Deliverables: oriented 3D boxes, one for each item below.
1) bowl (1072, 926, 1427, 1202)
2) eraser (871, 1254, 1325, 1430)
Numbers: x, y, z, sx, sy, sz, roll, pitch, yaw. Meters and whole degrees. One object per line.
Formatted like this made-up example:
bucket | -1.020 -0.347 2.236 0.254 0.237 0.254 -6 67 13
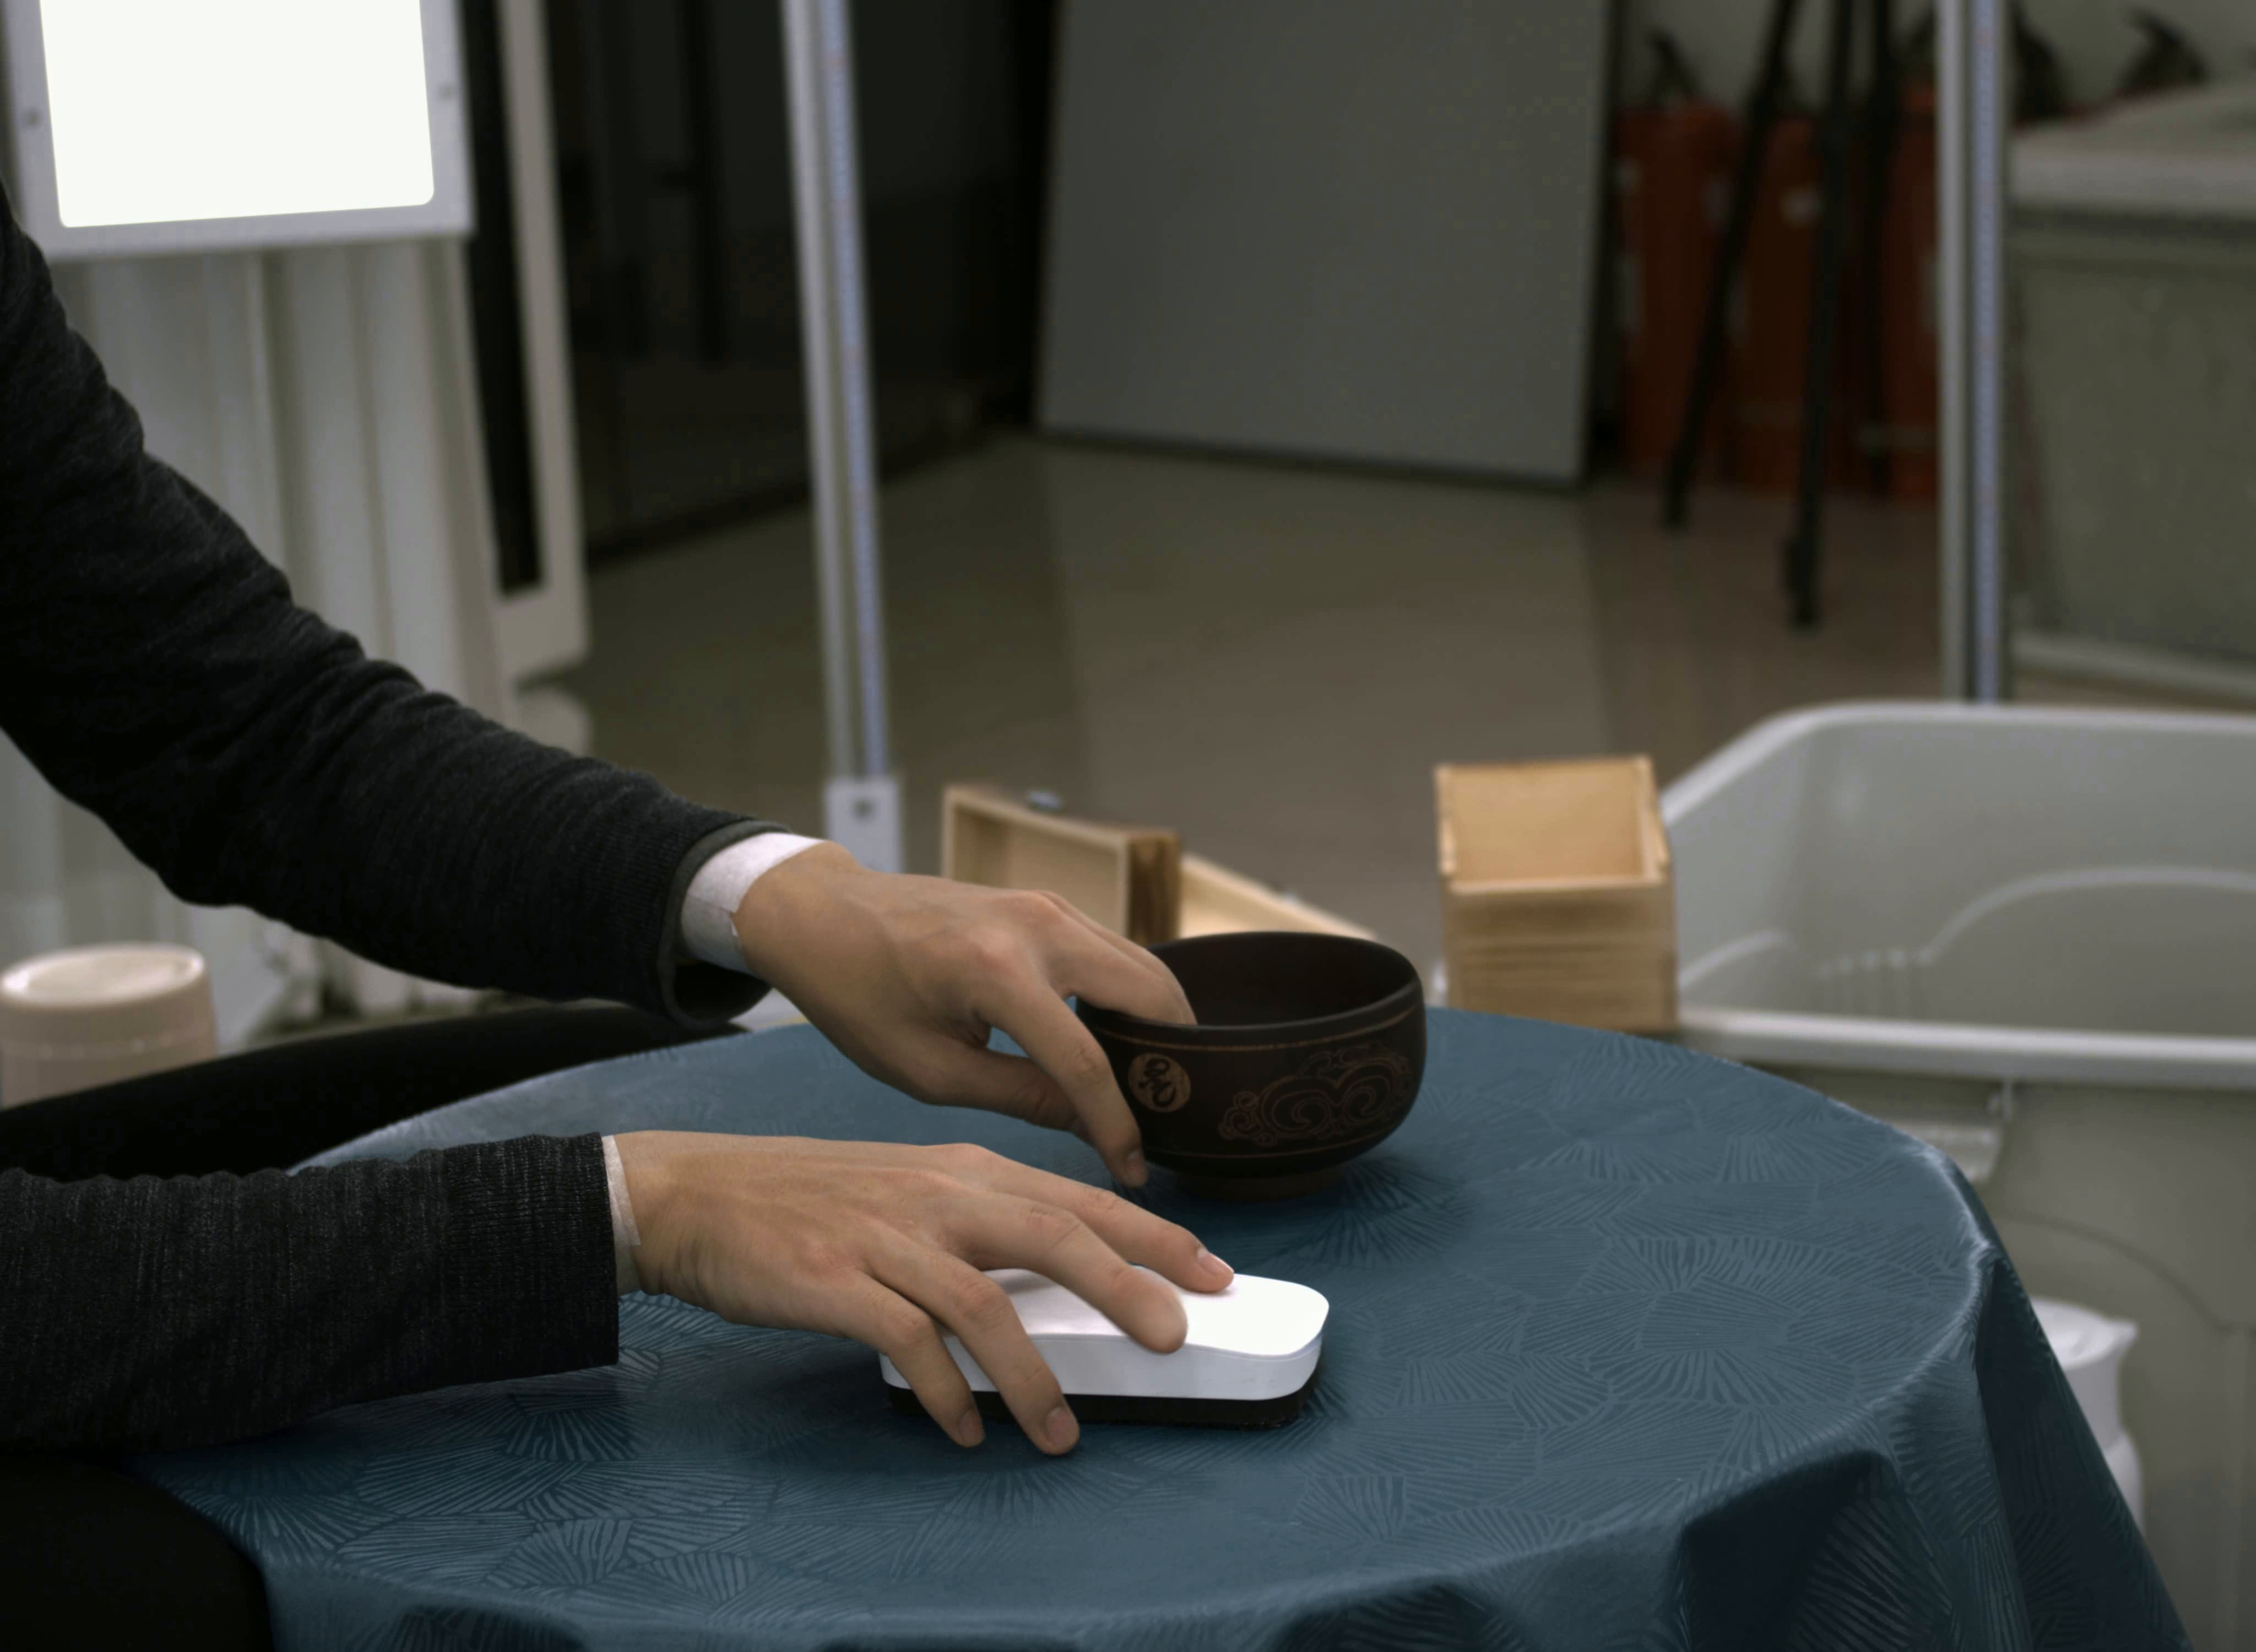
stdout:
bowl | 0.041 0.081 1.768 0.116 0.070 0.118 -5 14 0
eraser | -0.008 0.152 1.582 0.131 0.035 0.063 0 13 16
